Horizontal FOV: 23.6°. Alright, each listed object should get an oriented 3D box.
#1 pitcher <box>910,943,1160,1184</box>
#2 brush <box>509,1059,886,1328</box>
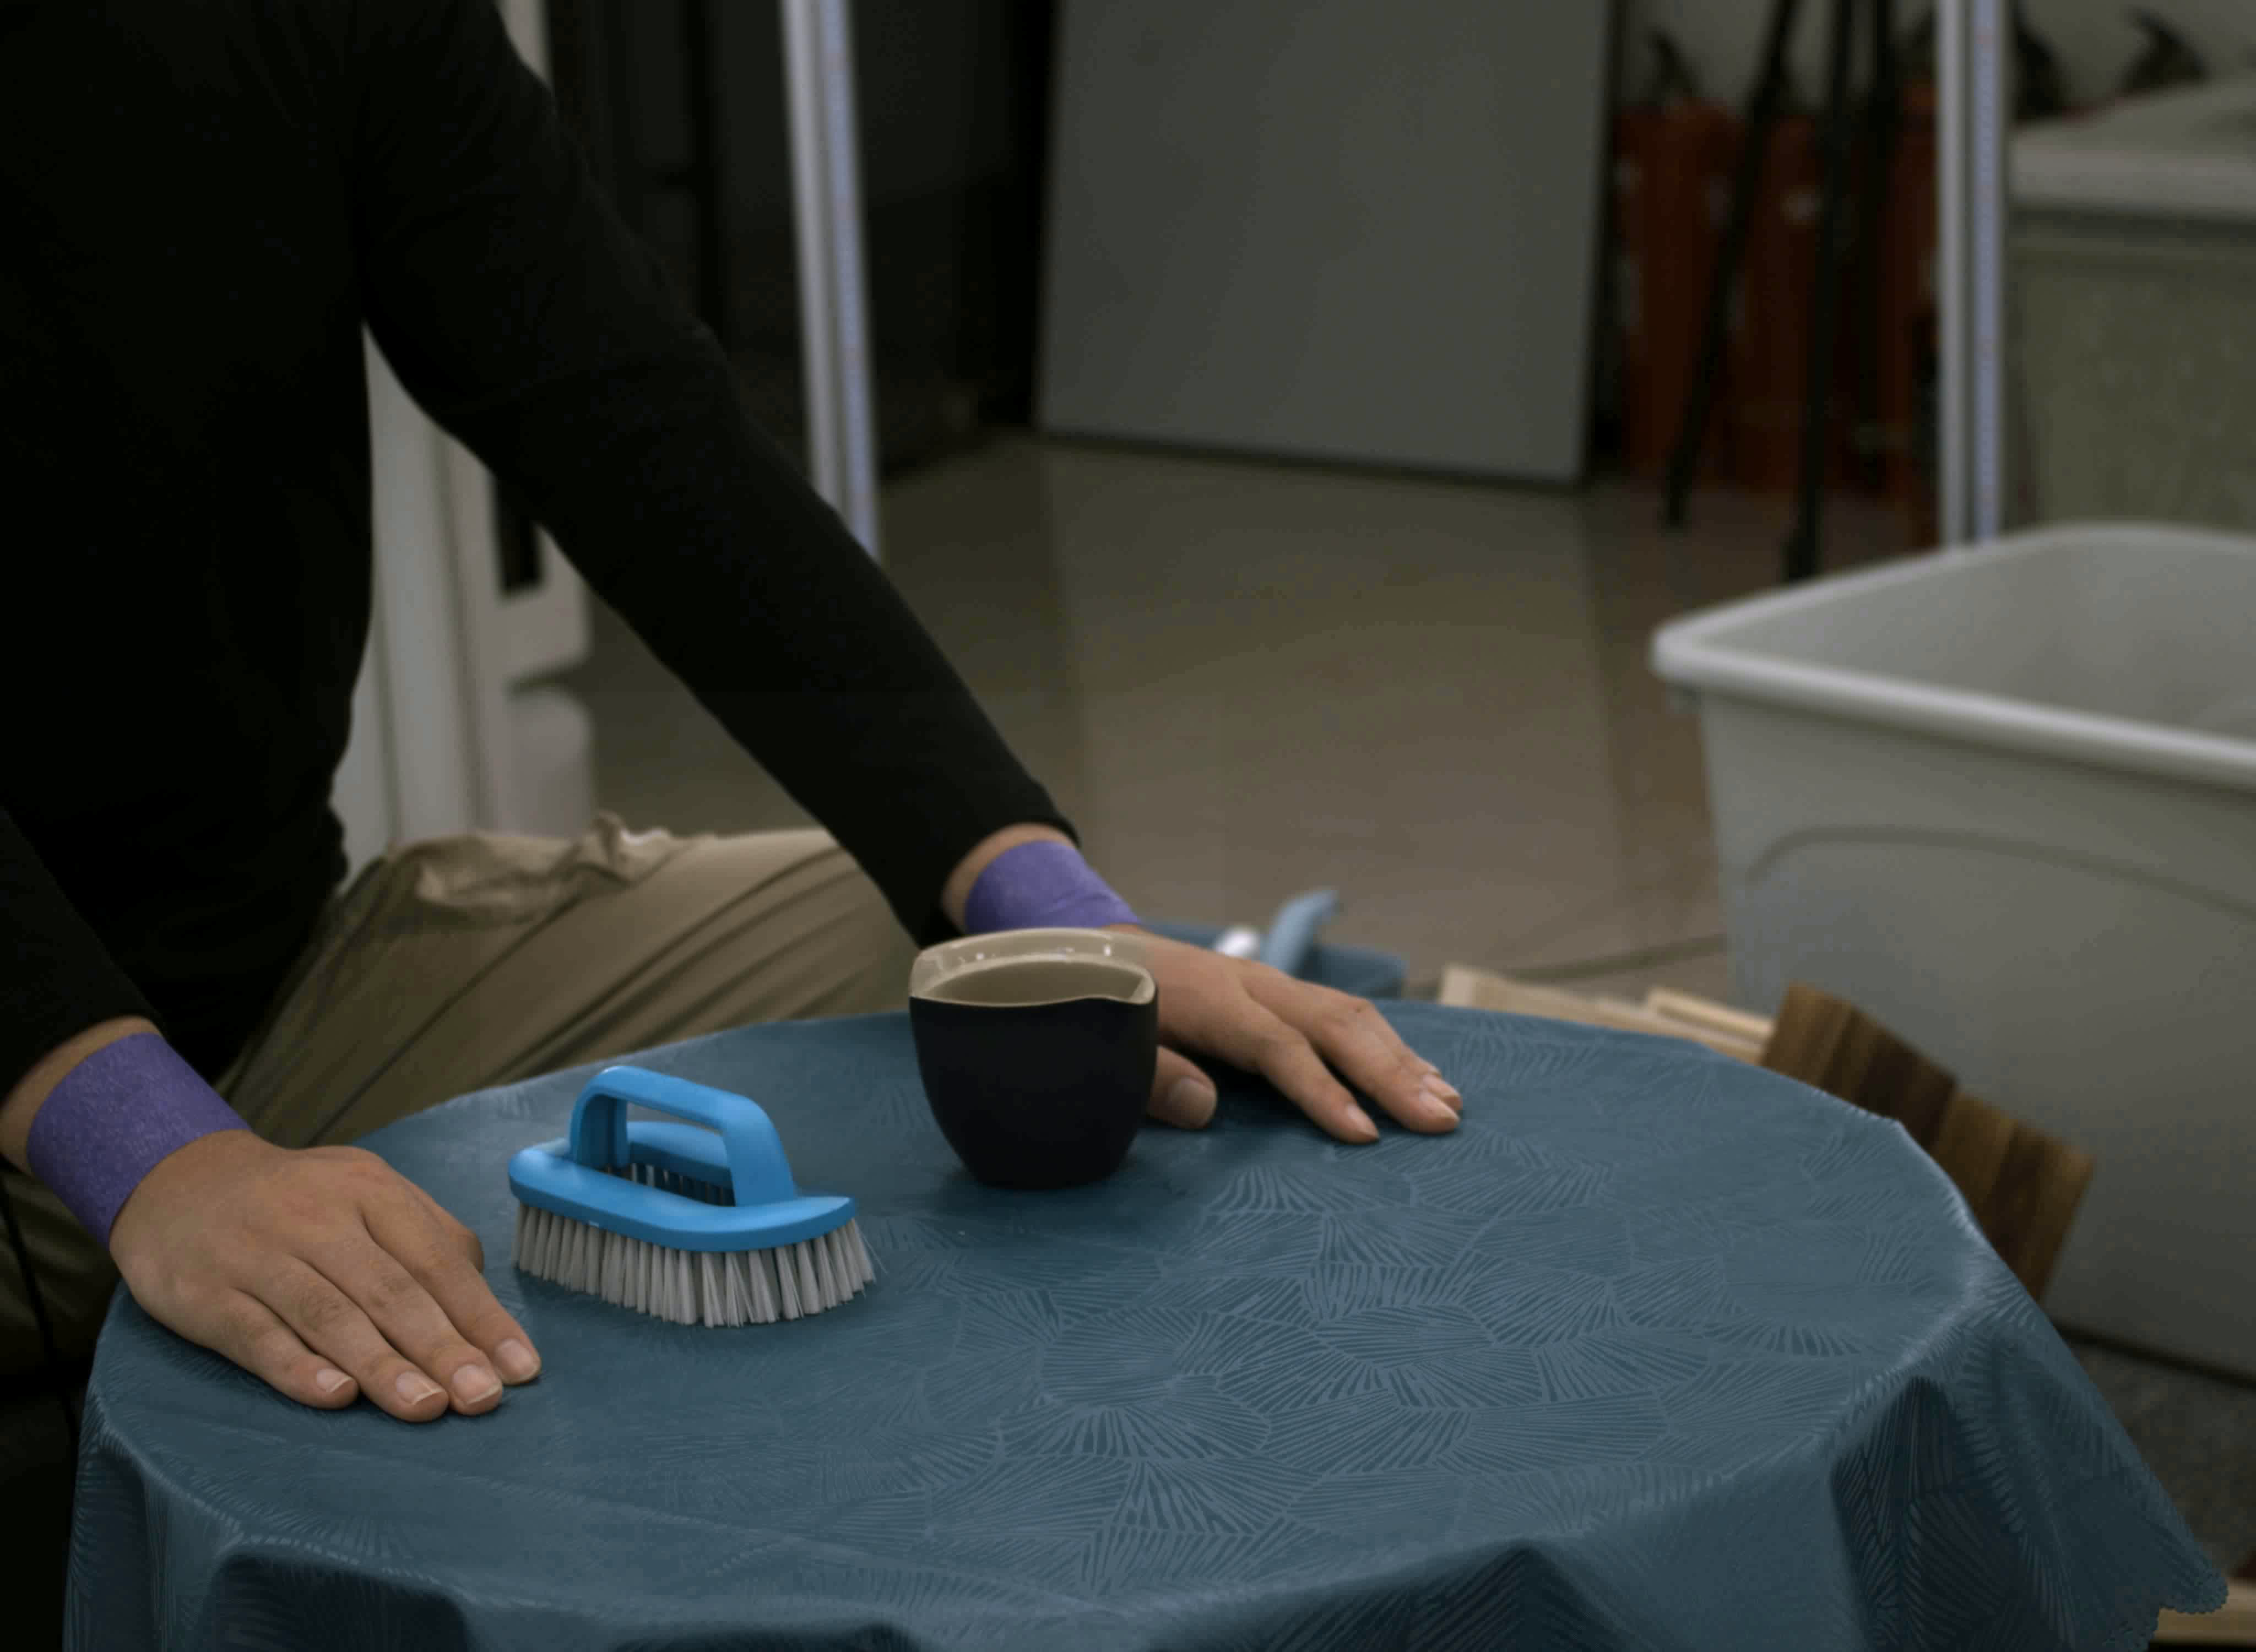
[{"bbox_3d":[-0.027,0.078,1.792,0.082,0.072,0.097,-12,17,-35],"label":"pitcher"},{"bbox_3d":[-0.141,0.110,1.717,0.082,0.064,0.143,-20,19,-37],"label":"brush"}]
